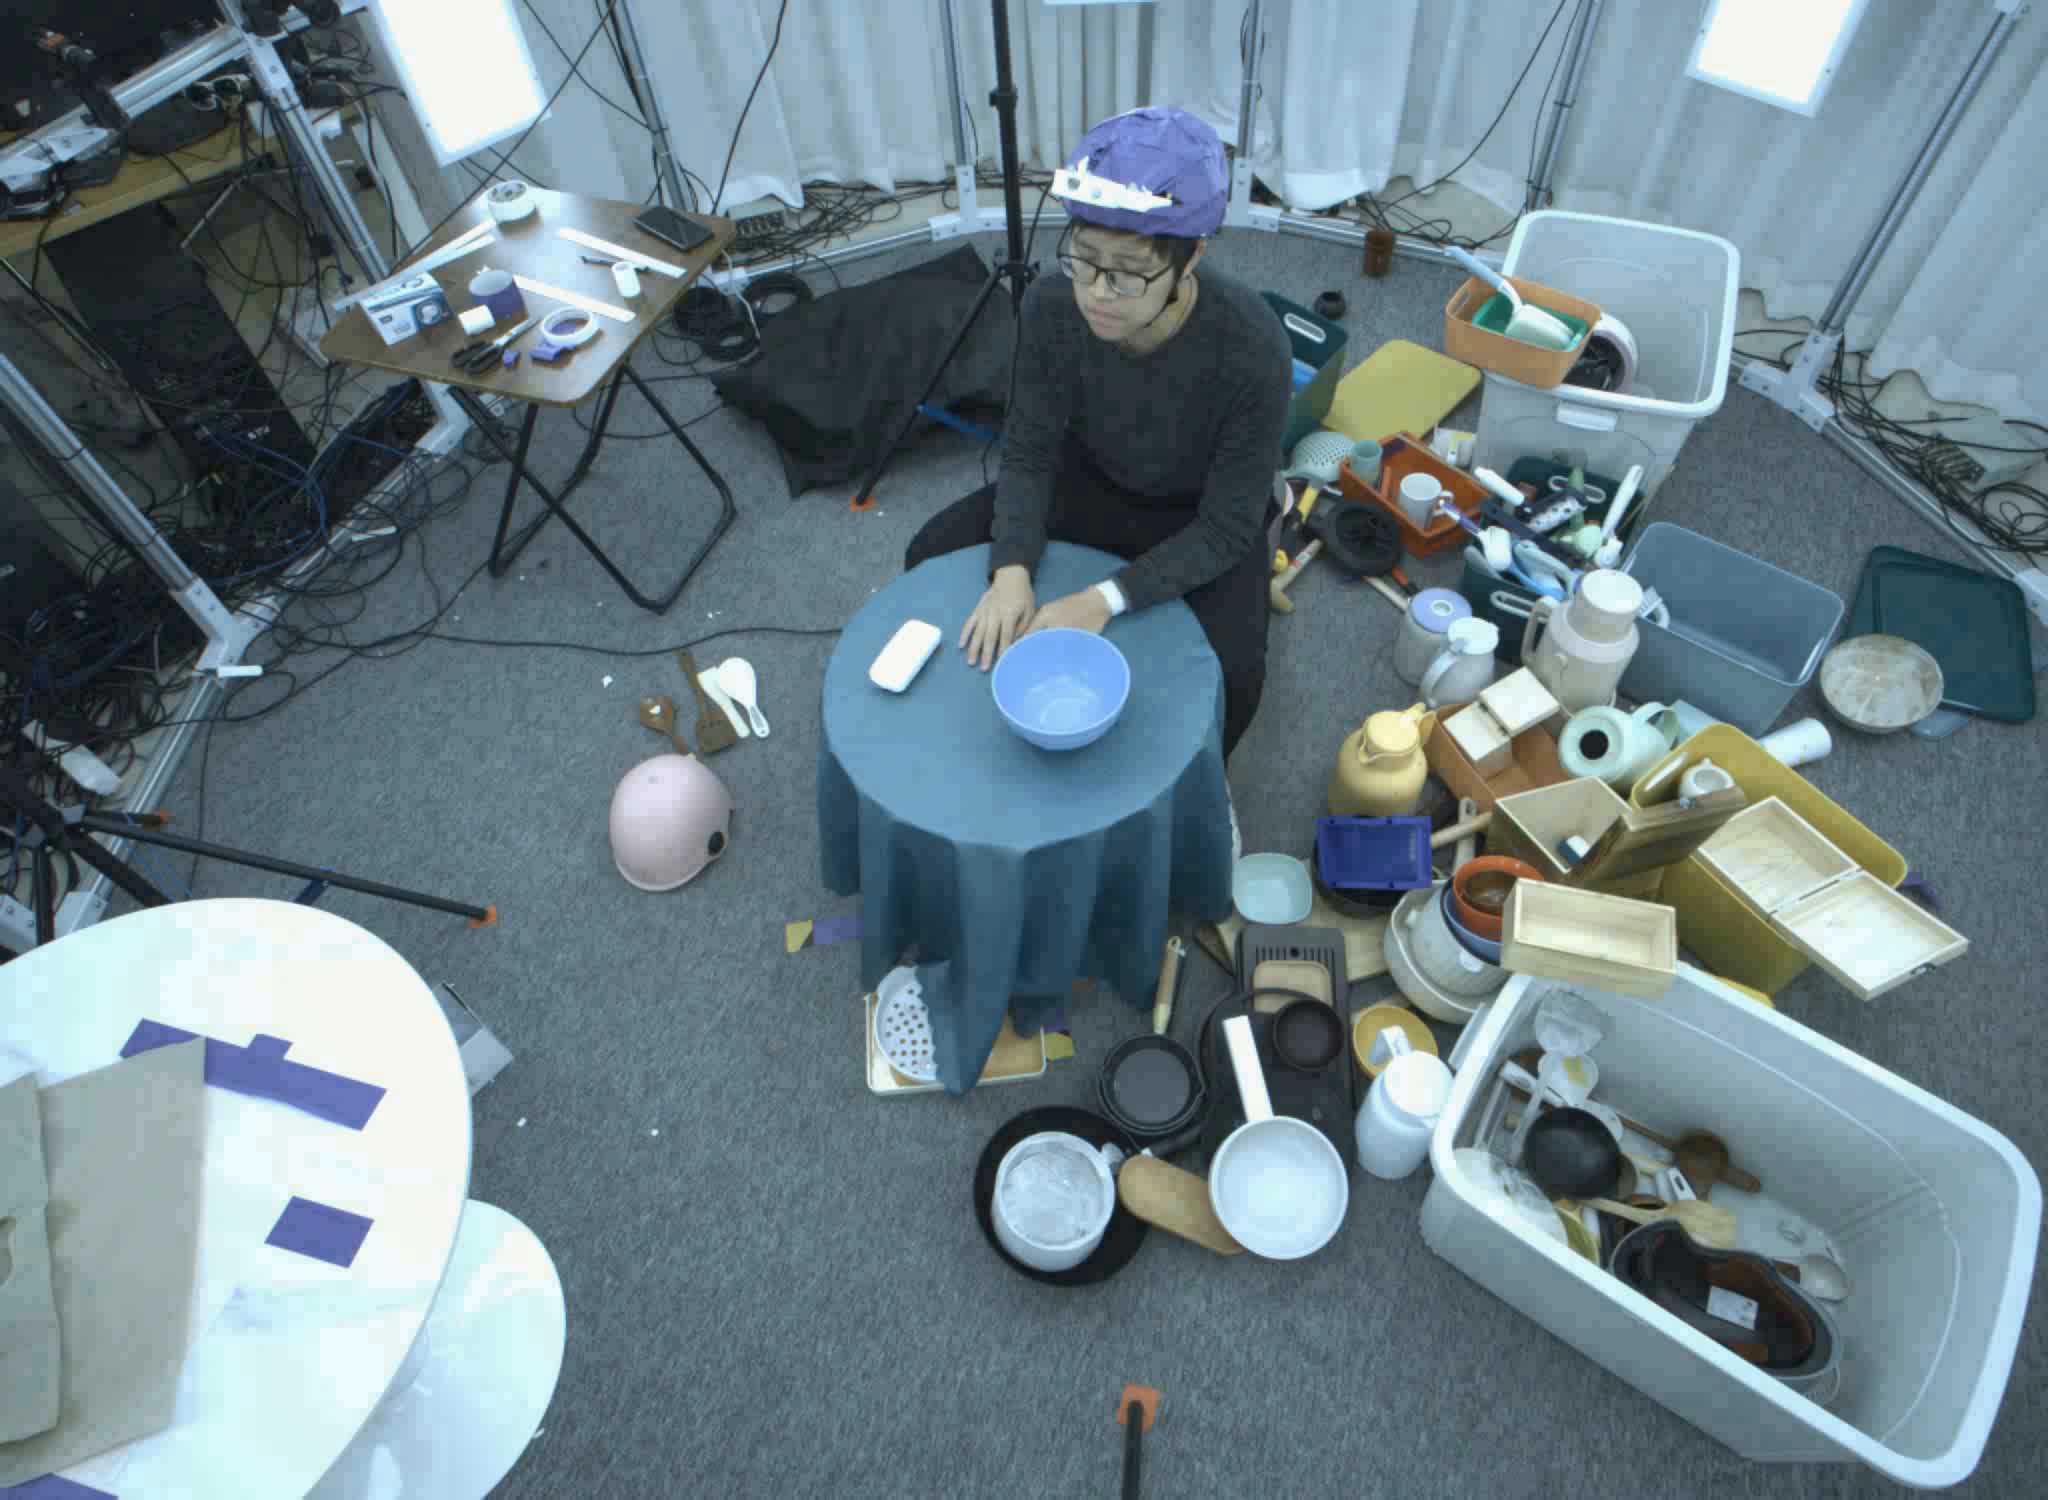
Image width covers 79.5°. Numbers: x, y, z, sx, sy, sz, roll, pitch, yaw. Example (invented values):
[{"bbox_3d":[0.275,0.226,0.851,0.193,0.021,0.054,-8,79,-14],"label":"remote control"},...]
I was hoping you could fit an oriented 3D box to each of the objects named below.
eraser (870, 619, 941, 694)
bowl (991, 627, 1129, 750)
[{"bbox_3d":[-0.180,-0.145,1.877,0.062,0.035,0.131,23,60,17],"label":"eraser"},{"bbox_3d":[0.054,-0.074,1.781,0.196,0.096,0.194,-1,55,2],"label":"bowl"}]
